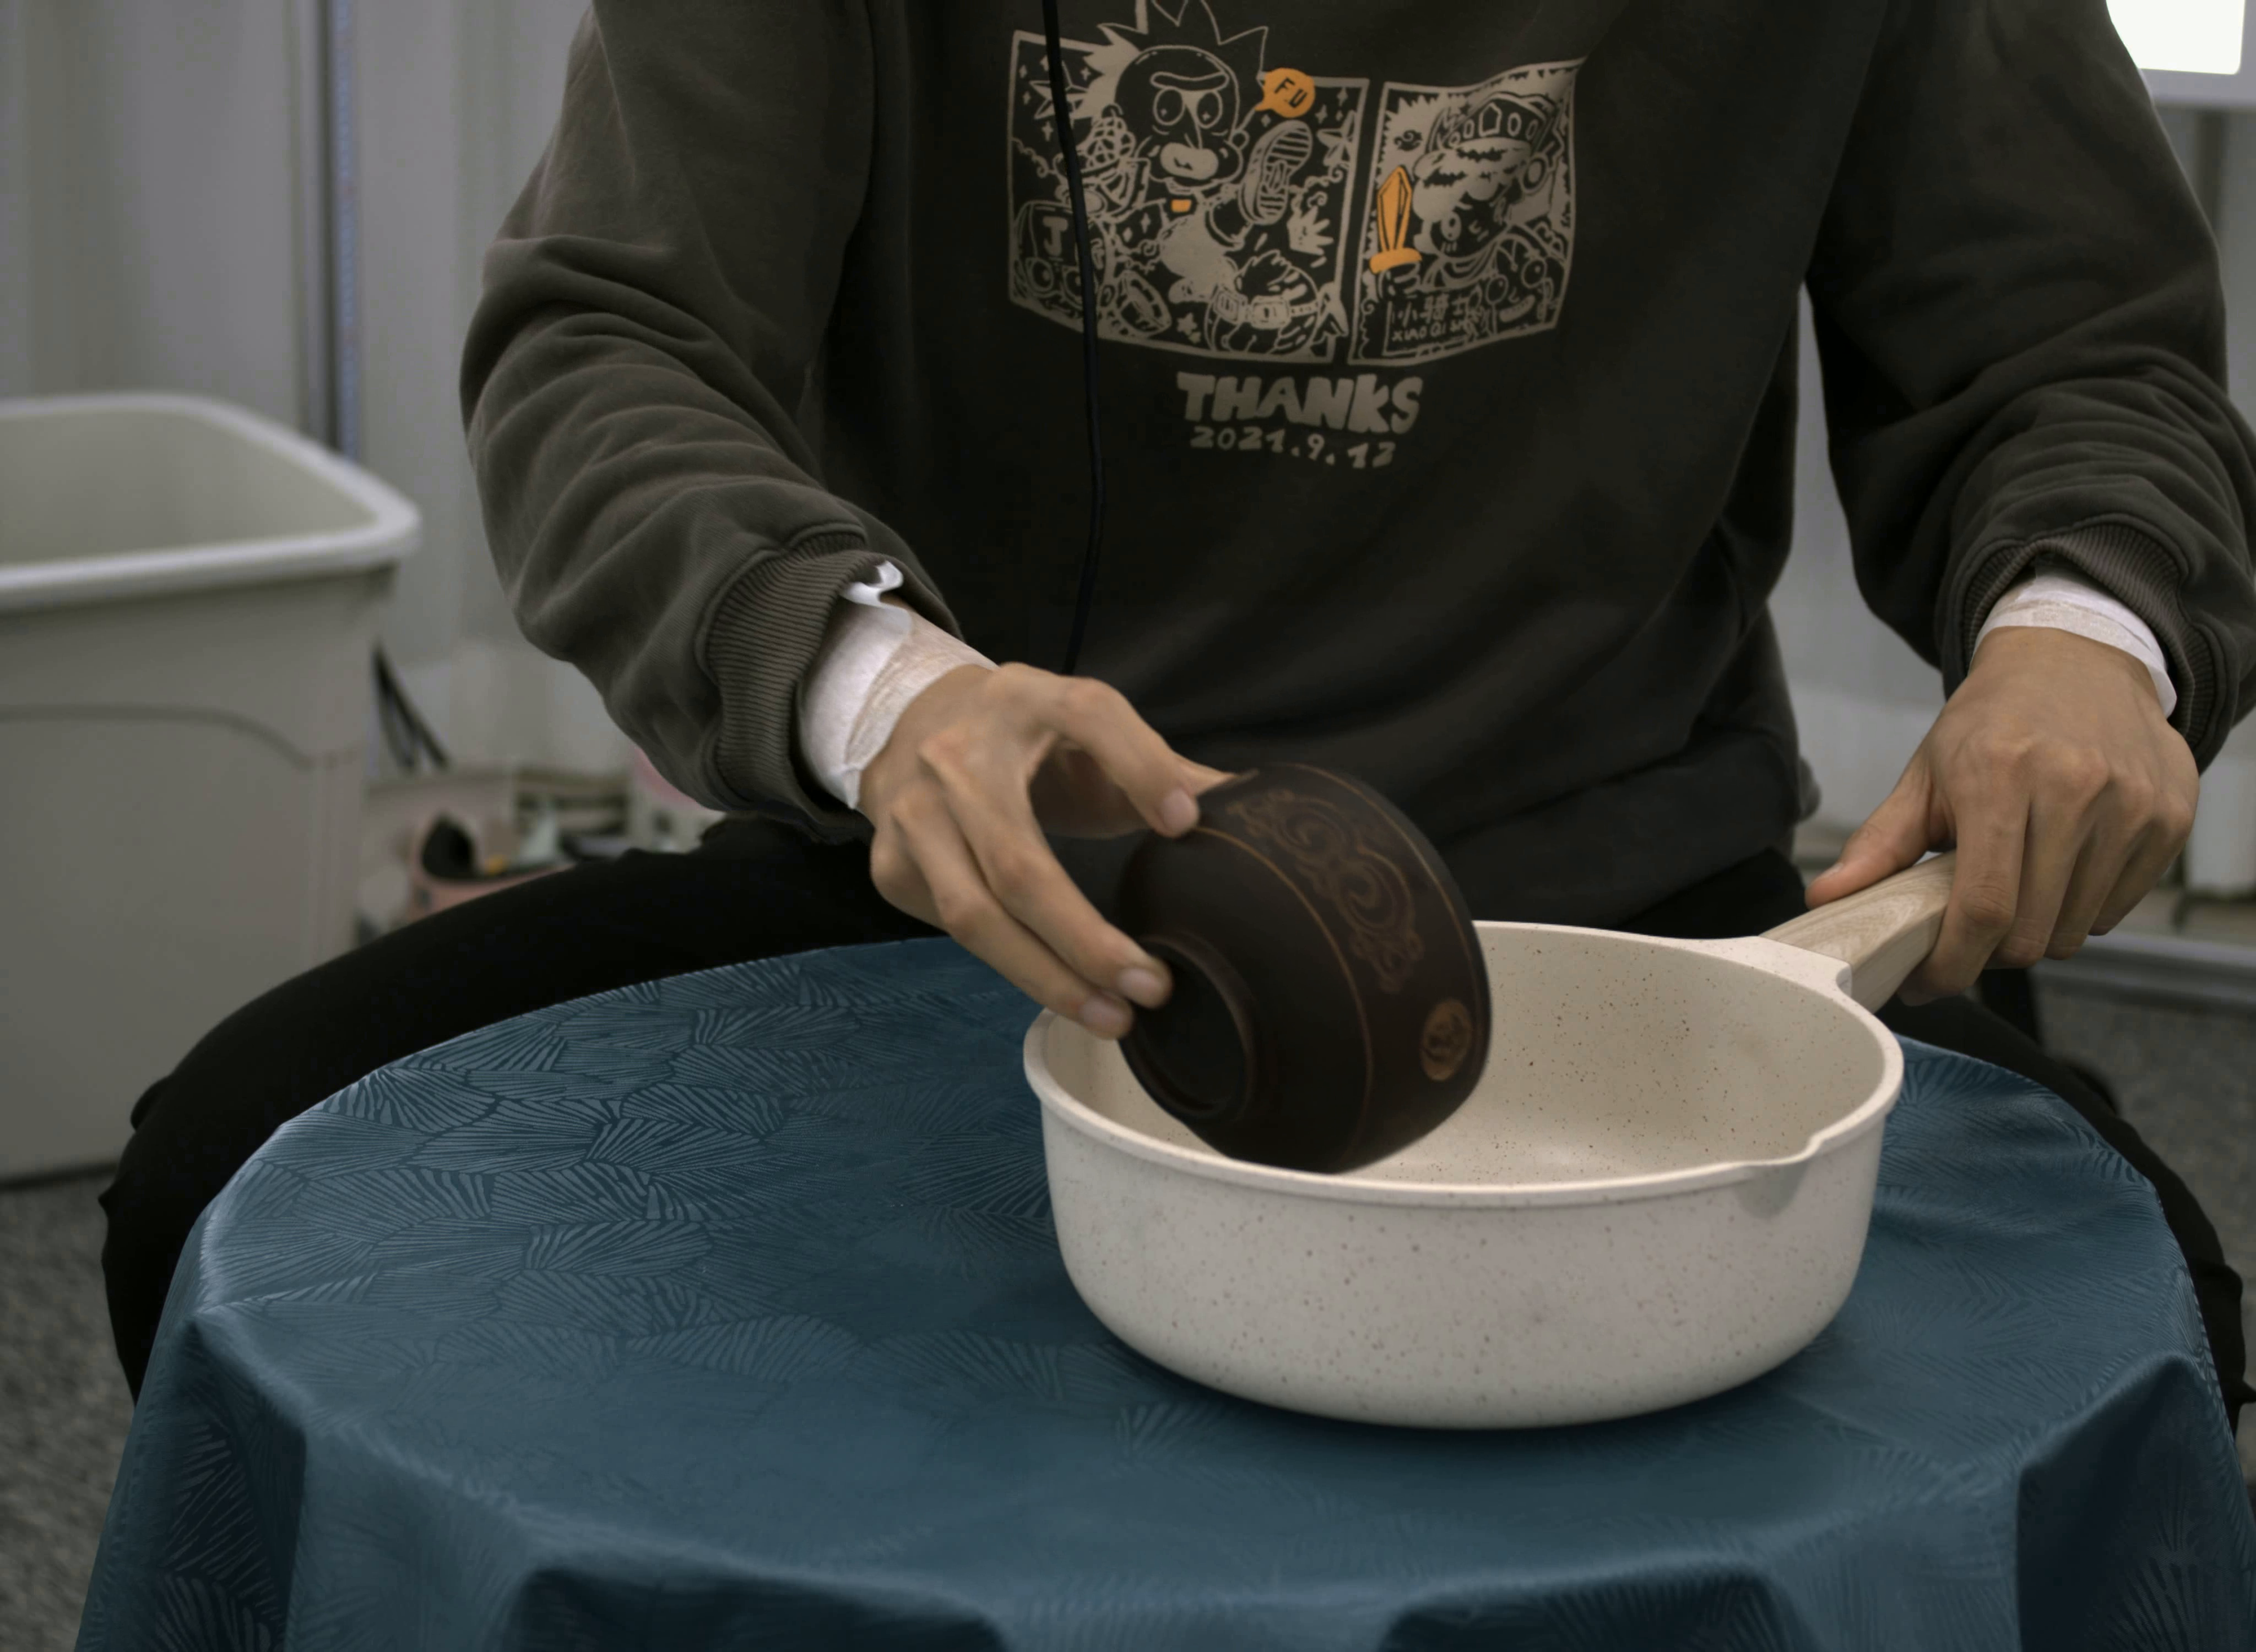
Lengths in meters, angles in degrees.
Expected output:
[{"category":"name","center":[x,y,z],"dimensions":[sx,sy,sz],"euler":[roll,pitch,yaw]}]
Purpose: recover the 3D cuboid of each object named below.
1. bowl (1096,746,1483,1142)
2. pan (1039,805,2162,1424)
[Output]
[{"category":"bowl","center":[0.036,0.043,1.480],"dimensions":[0.070,0.119,0.116],"euler":[-28,30,-36]},{"category":"pan","center":[0.168,0.079,1.573],"dimensions":[0.437,0.103,0.260],"euler":[-13,18,-40]}]
